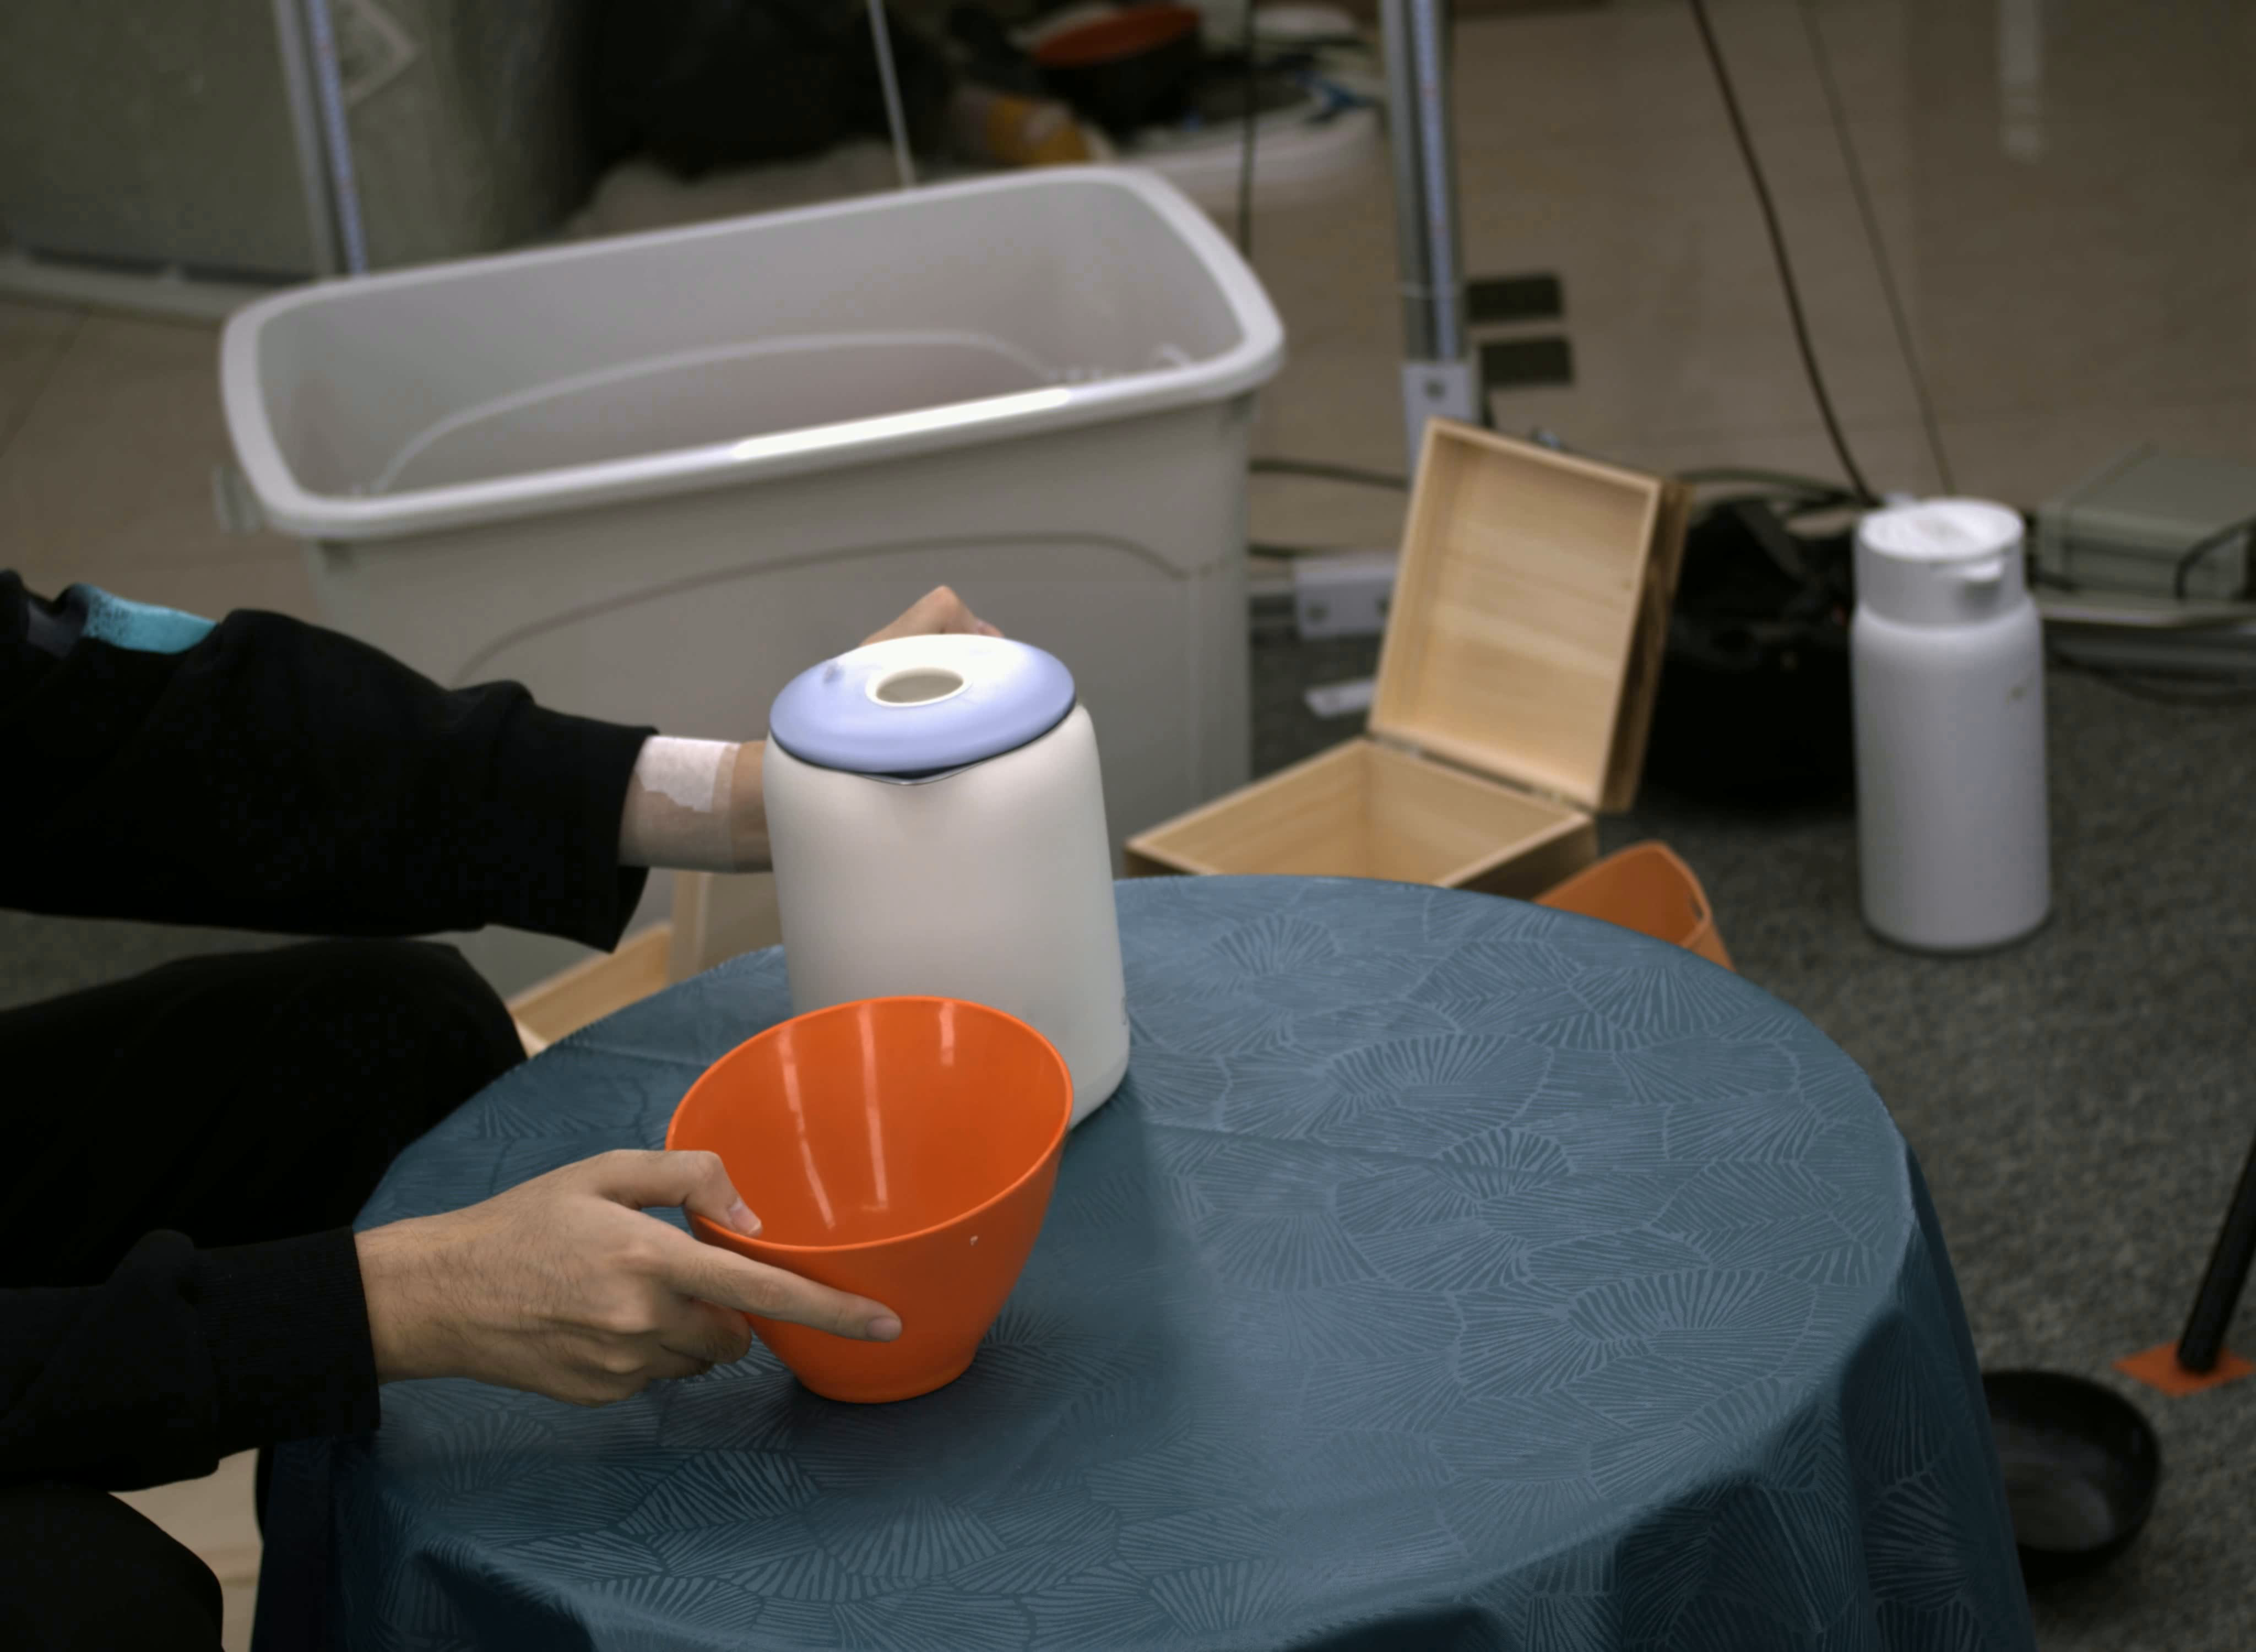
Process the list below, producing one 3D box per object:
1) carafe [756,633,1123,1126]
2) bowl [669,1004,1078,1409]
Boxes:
[{"bbox_3d":[-0.074,0.017,2.219,0.132,0.185,0.188,-5,23,0],"label":"carafe"},{"bbox_3d":[-0.087,0.143,2.037,0.148,0.106,0.146,-5,24,2],"label":"bowl"}]
